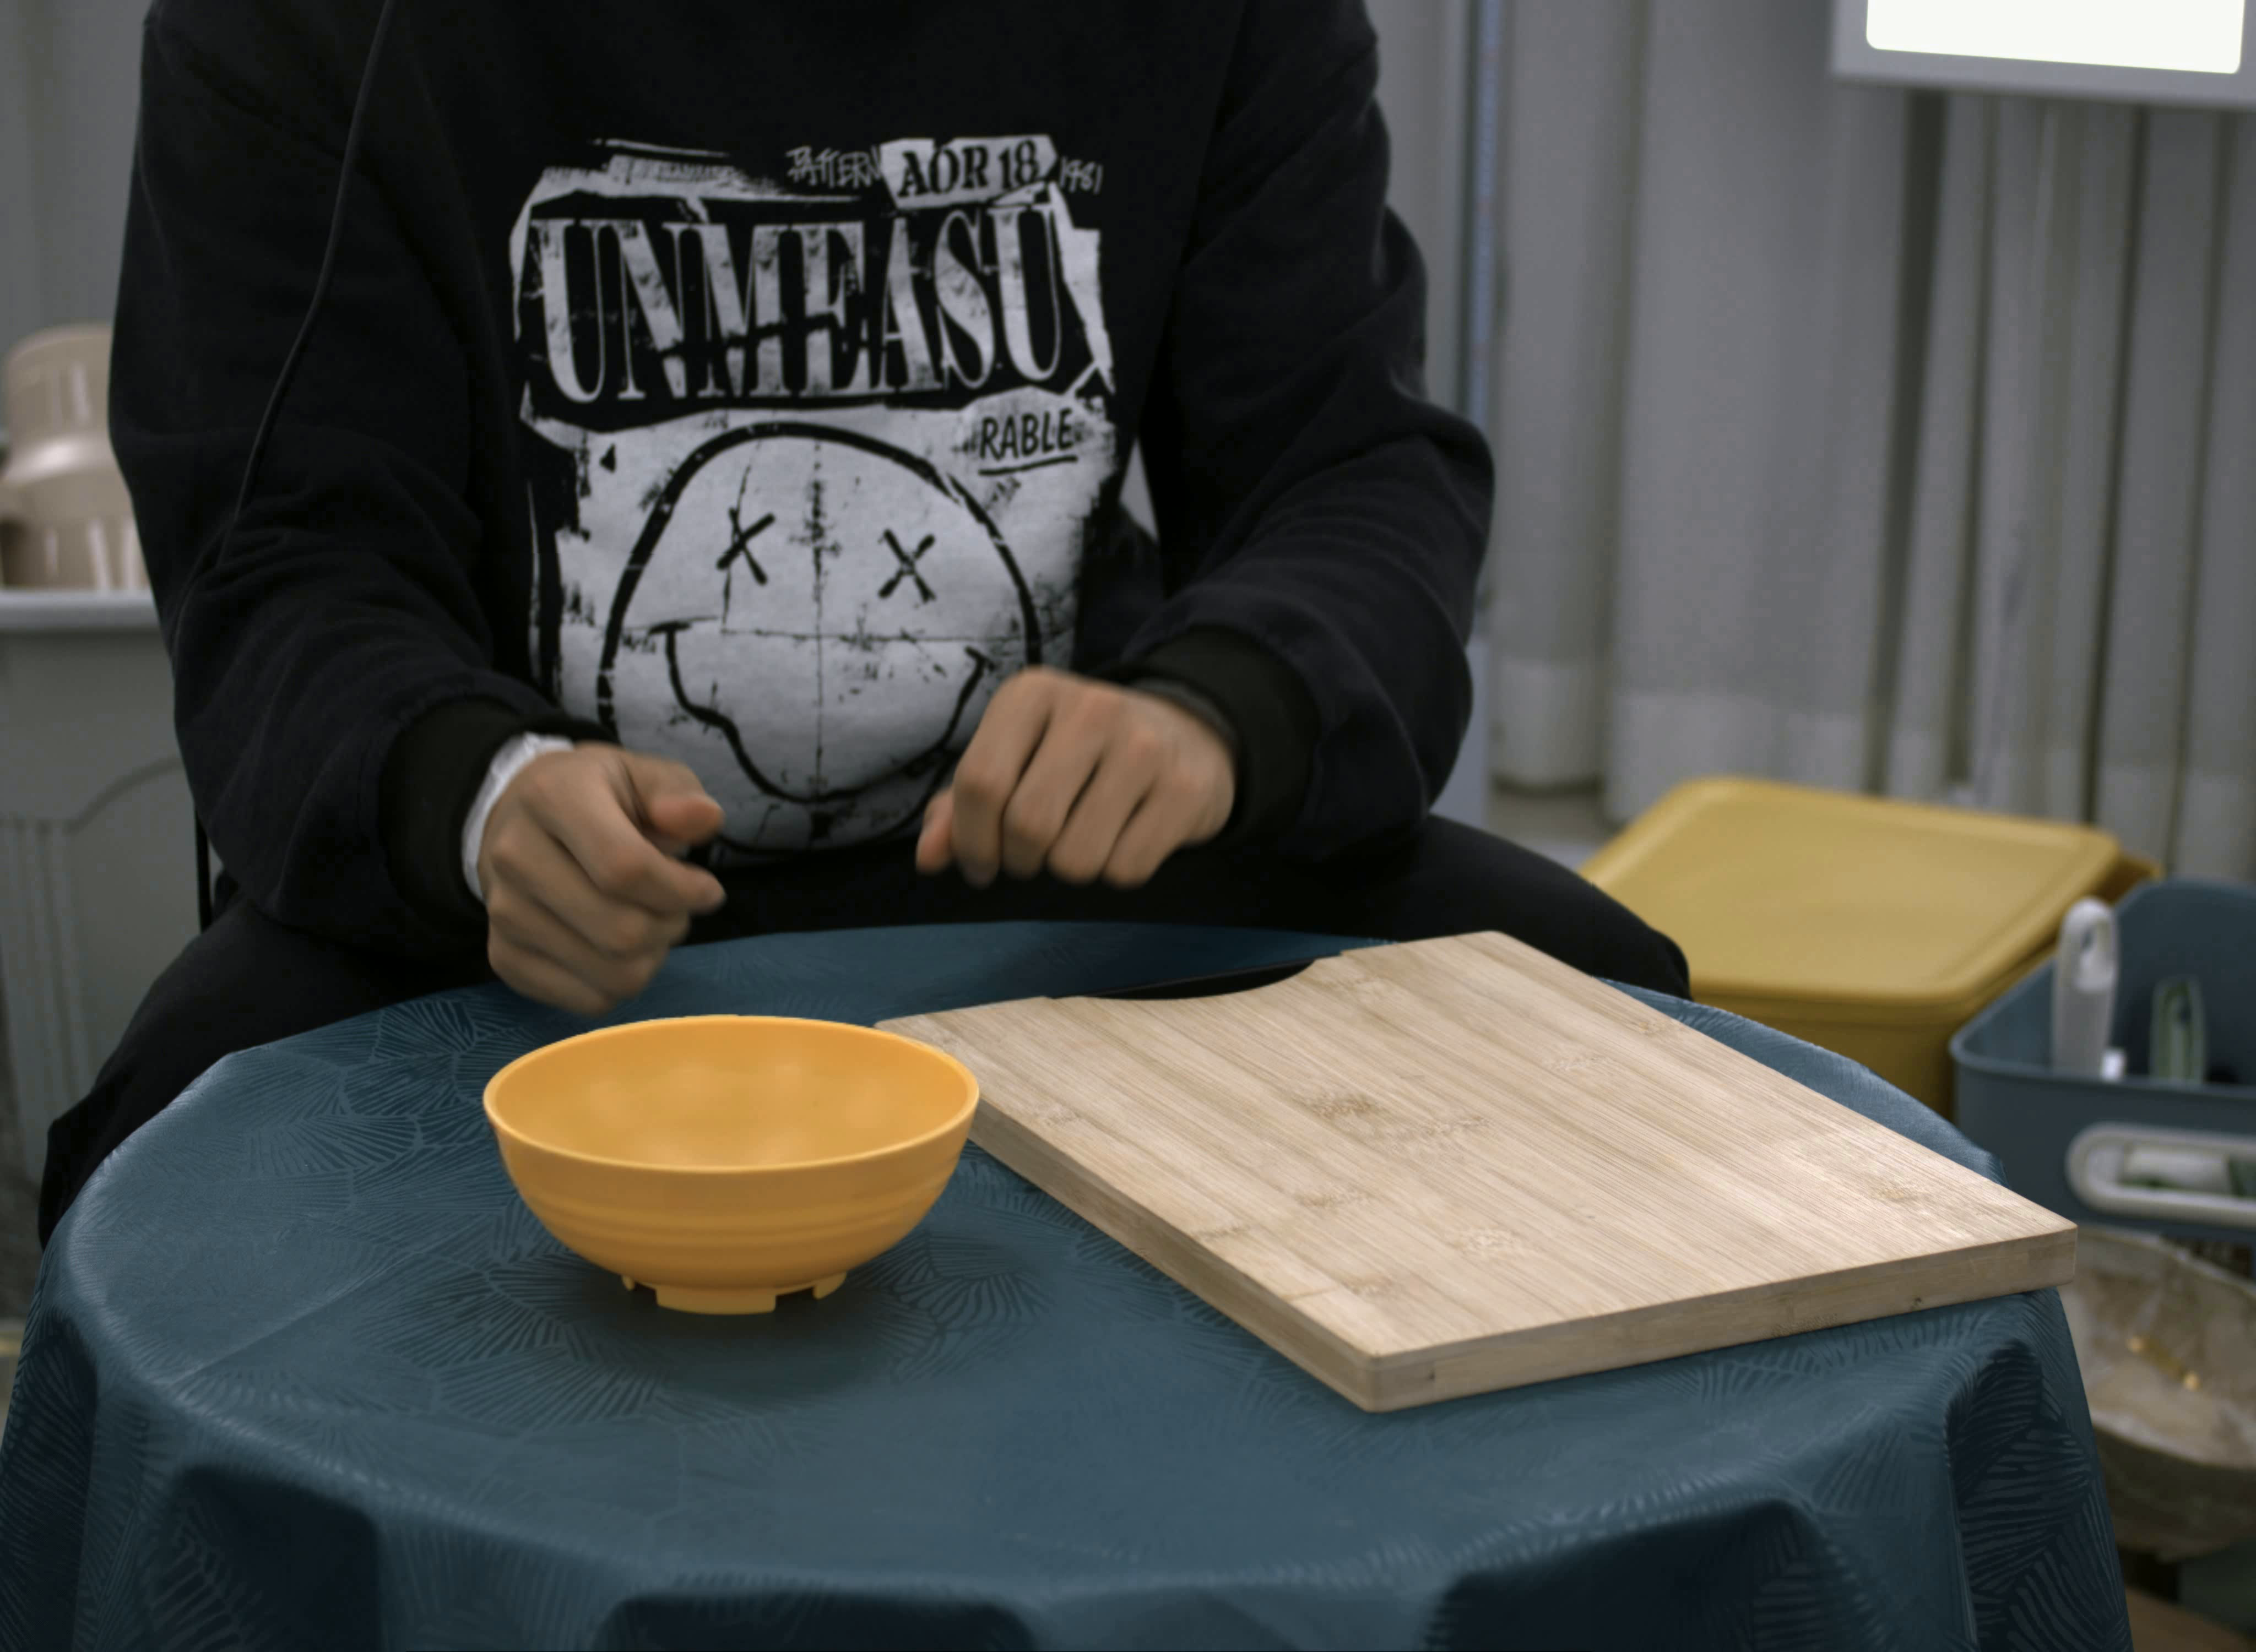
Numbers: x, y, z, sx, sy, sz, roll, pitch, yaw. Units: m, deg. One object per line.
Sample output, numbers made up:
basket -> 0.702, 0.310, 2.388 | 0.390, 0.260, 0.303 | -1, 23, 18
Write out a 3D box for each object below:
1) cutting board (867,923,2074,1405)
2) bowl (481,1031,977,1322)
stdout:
cutting board -> 0.096, 0.099, 1.649 | 0.252, 0.024, 0.344 | -7, 18, -27
bowl -> -0.117, 0.107, 1.541 | 0.145, 0.060, 0.144 | 2, 14, 0
